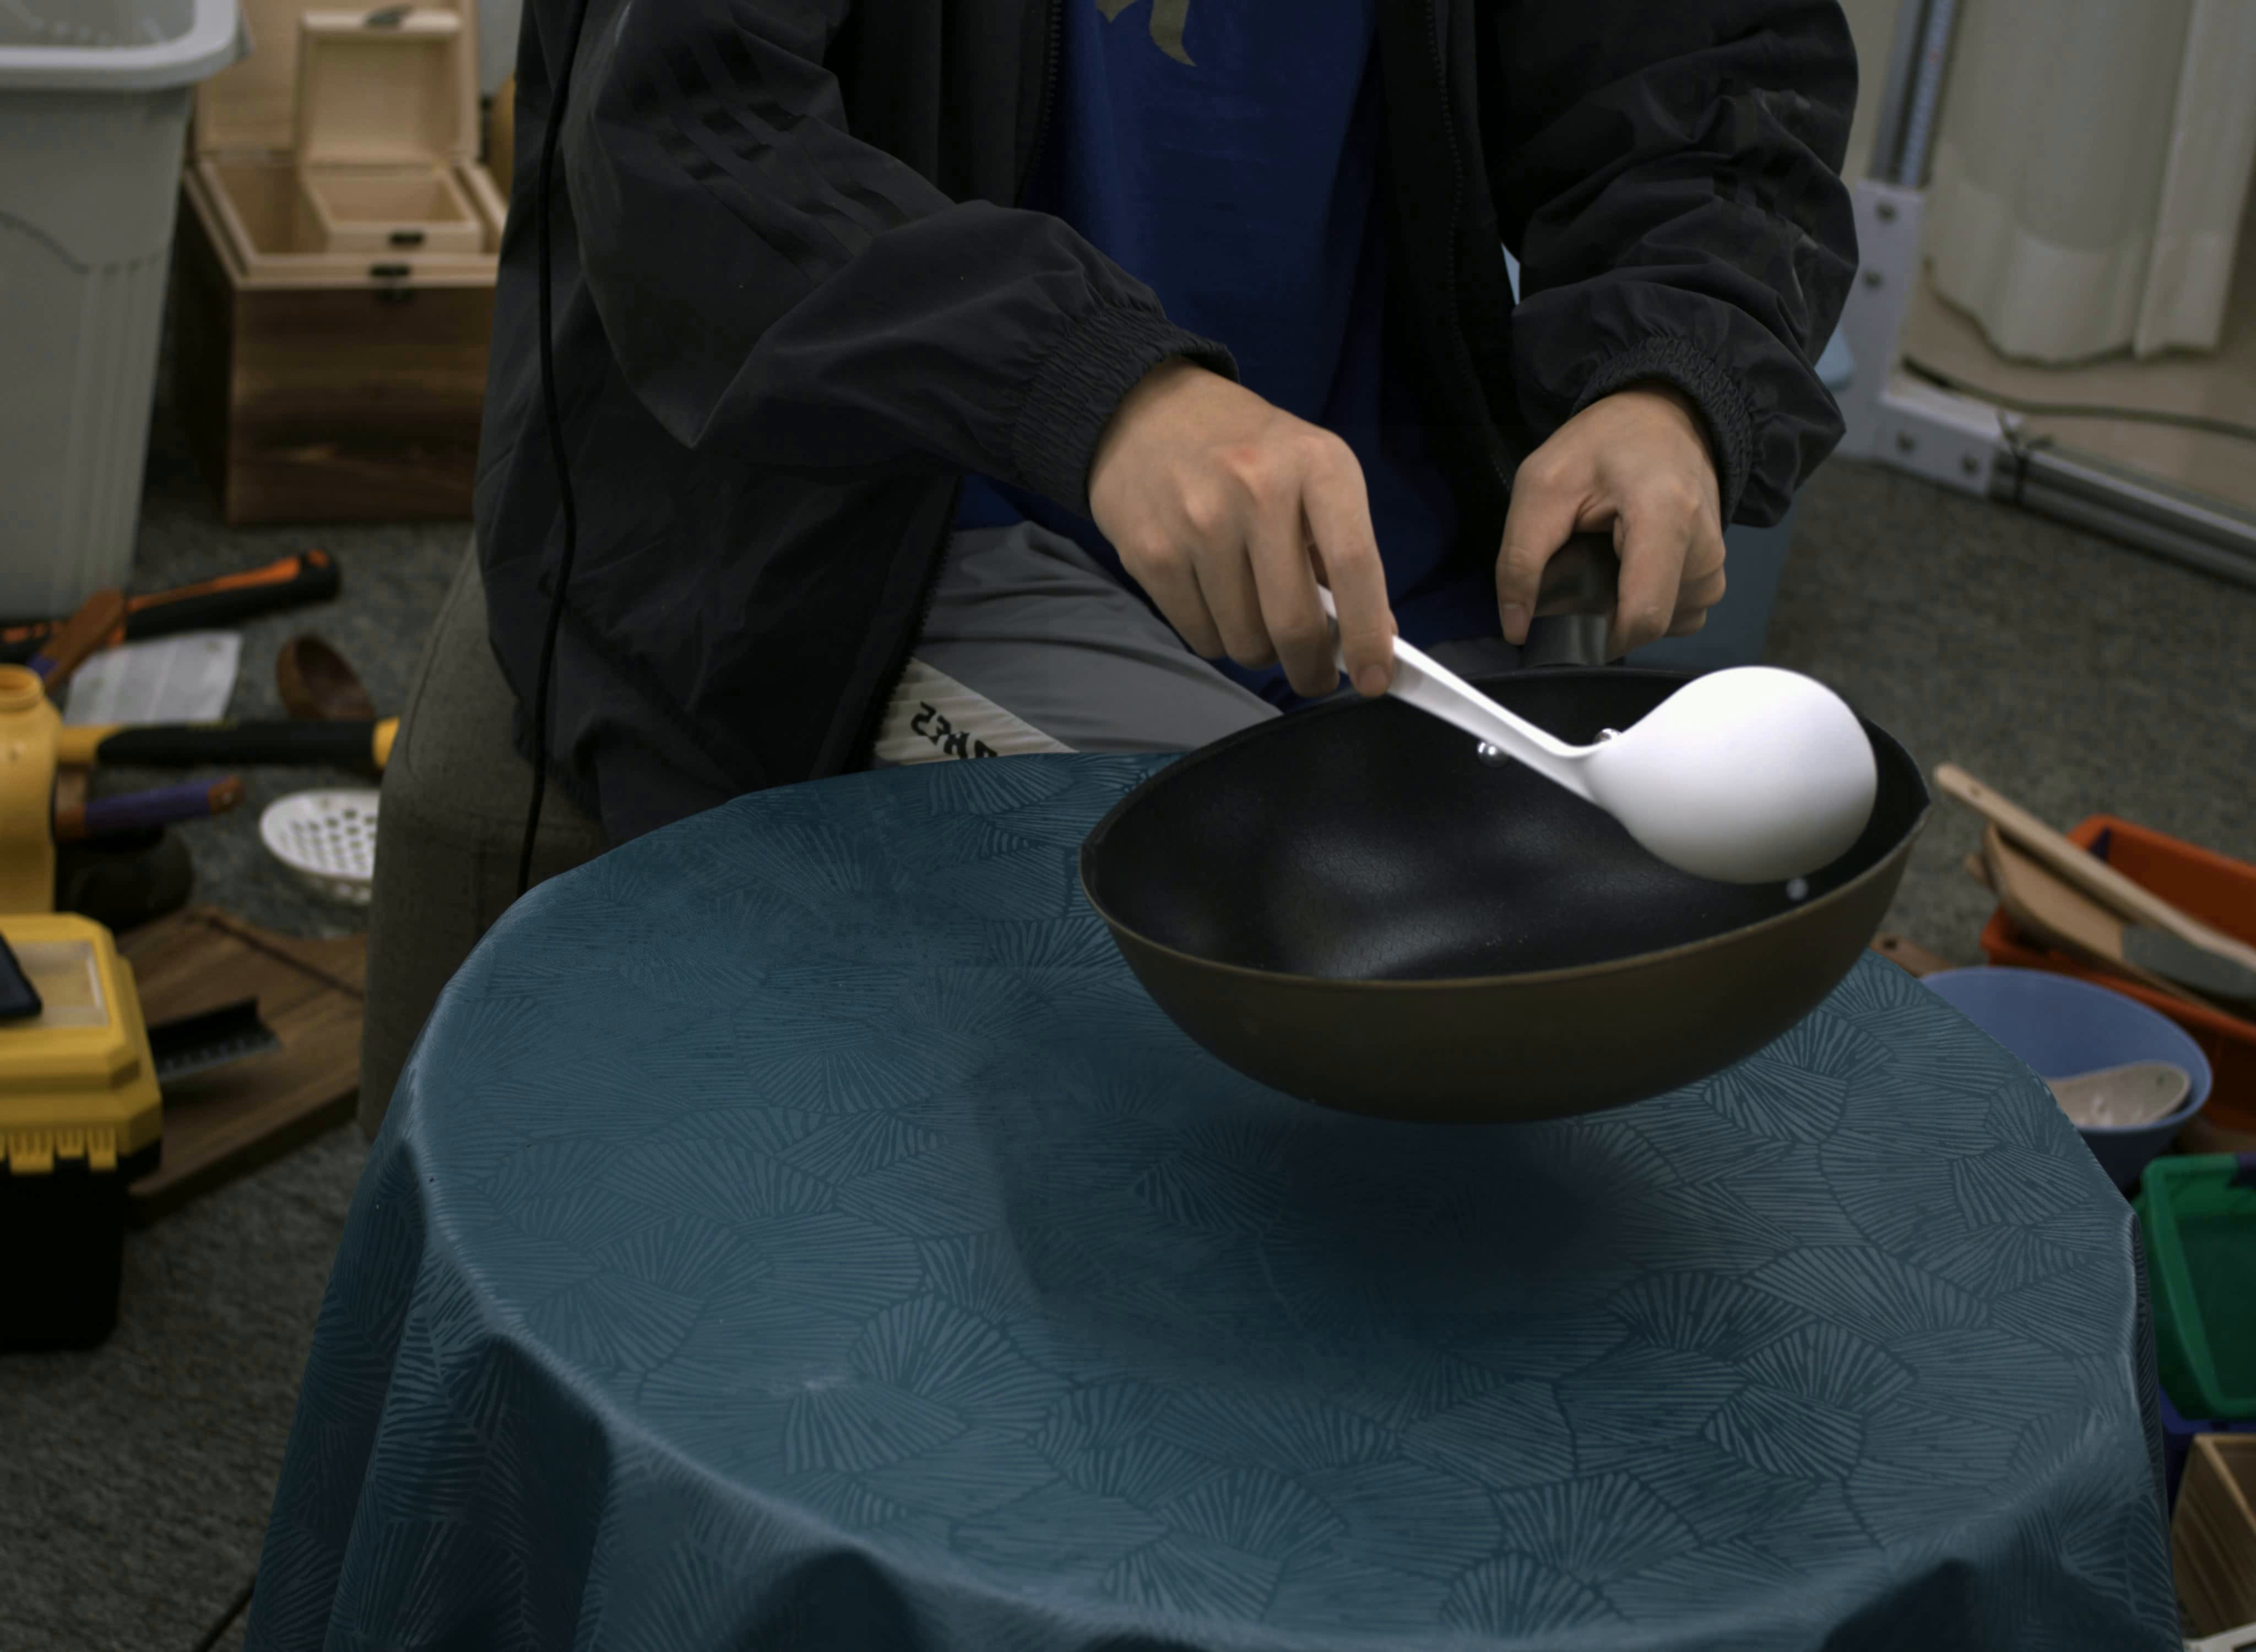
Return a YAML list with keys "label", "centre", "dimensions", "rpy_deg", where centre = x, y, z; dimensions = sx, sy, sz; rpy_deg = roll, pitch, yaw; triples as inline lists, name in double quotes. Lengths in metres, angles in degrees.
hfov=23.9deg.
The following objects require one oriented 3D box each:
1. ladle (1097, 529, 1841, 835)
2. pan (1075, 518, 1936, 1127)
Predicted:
- label: "ladle"
  centre: [0.110, -0.061, 1.825]
  dimensions: [0.070, 0.089, 0.295]
  rpy_deg: [-42, 41, -23]
- label: "pan"
  centre: [0.145, -0.001, 1.864]
  dimensions: [0.288, 0.086, 0.464]
  rpy_deg: [-2, 21, 13]
